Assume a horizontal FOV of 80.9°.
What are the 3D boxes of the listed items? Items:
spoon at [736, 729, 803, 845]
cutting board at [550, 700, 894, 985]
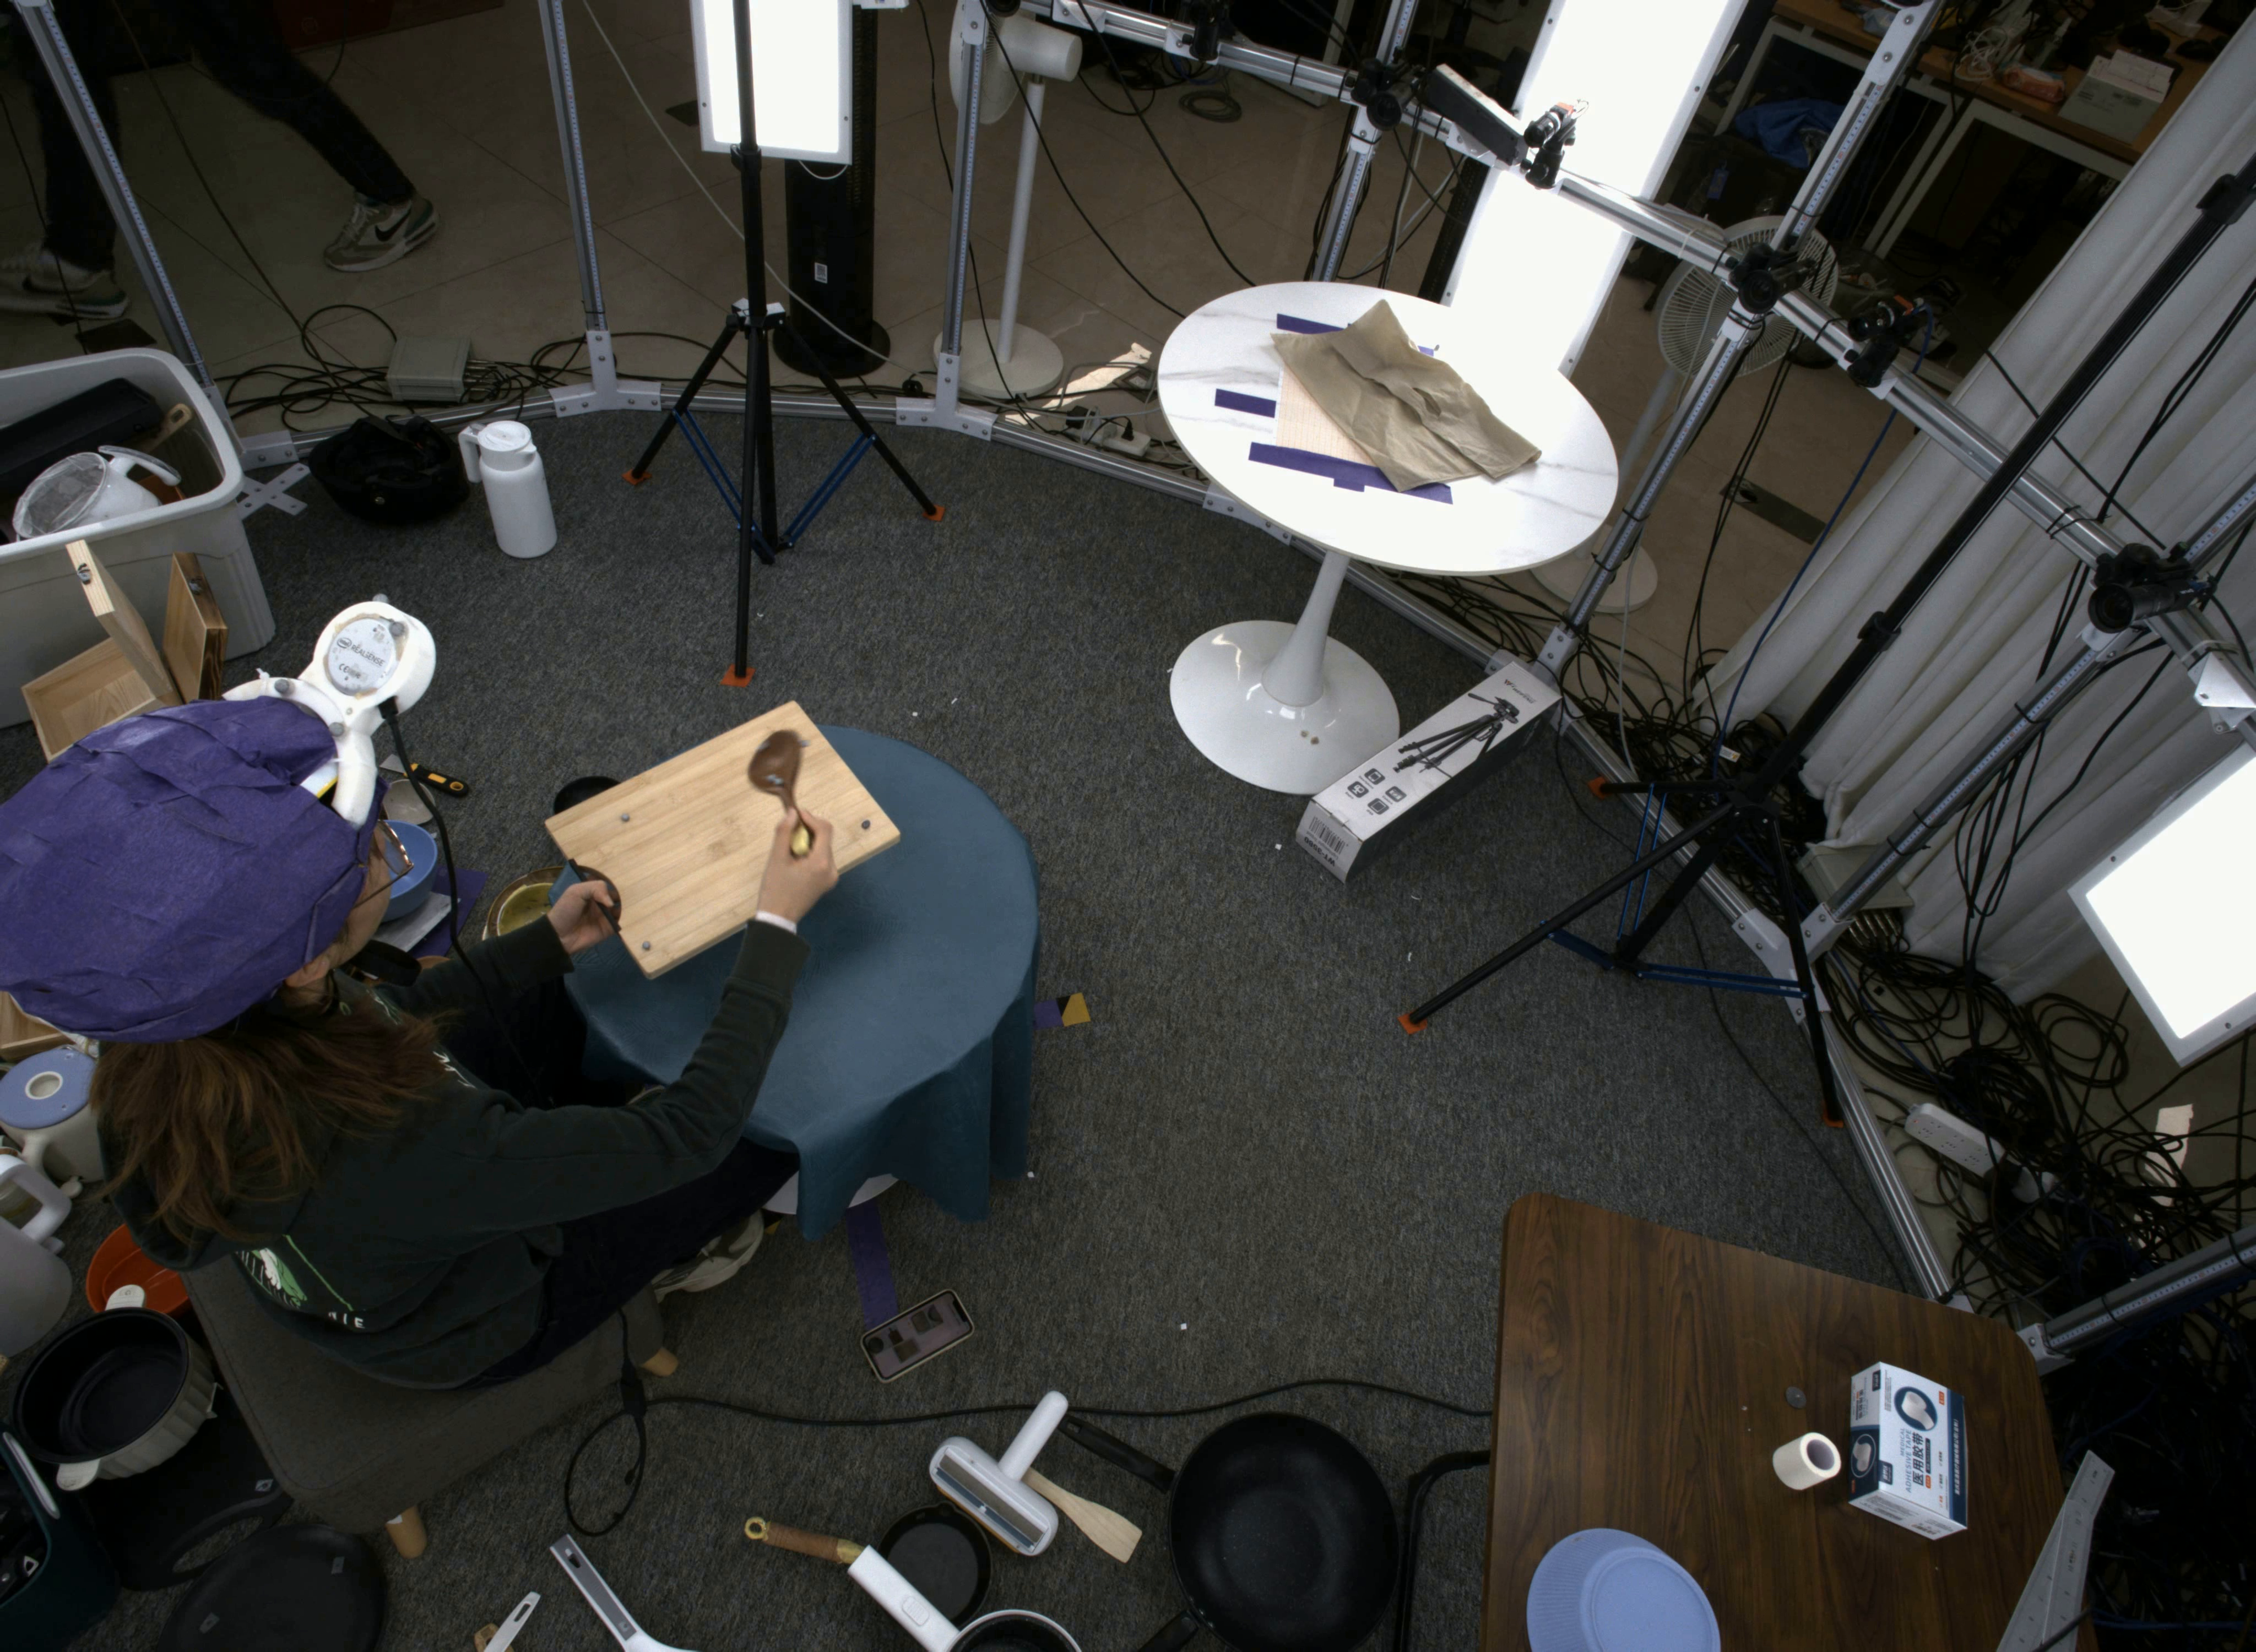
[{"bbox_3d":[-0.376,-0.041,1.381,0.075,0.018,0.208,-39,40,1],"label":"spoon"},{"bbox_3d":[-0.486,0.008,1.538,0.349,0.024,0.246,-33,71,-29],"label":"cutting board"}]
